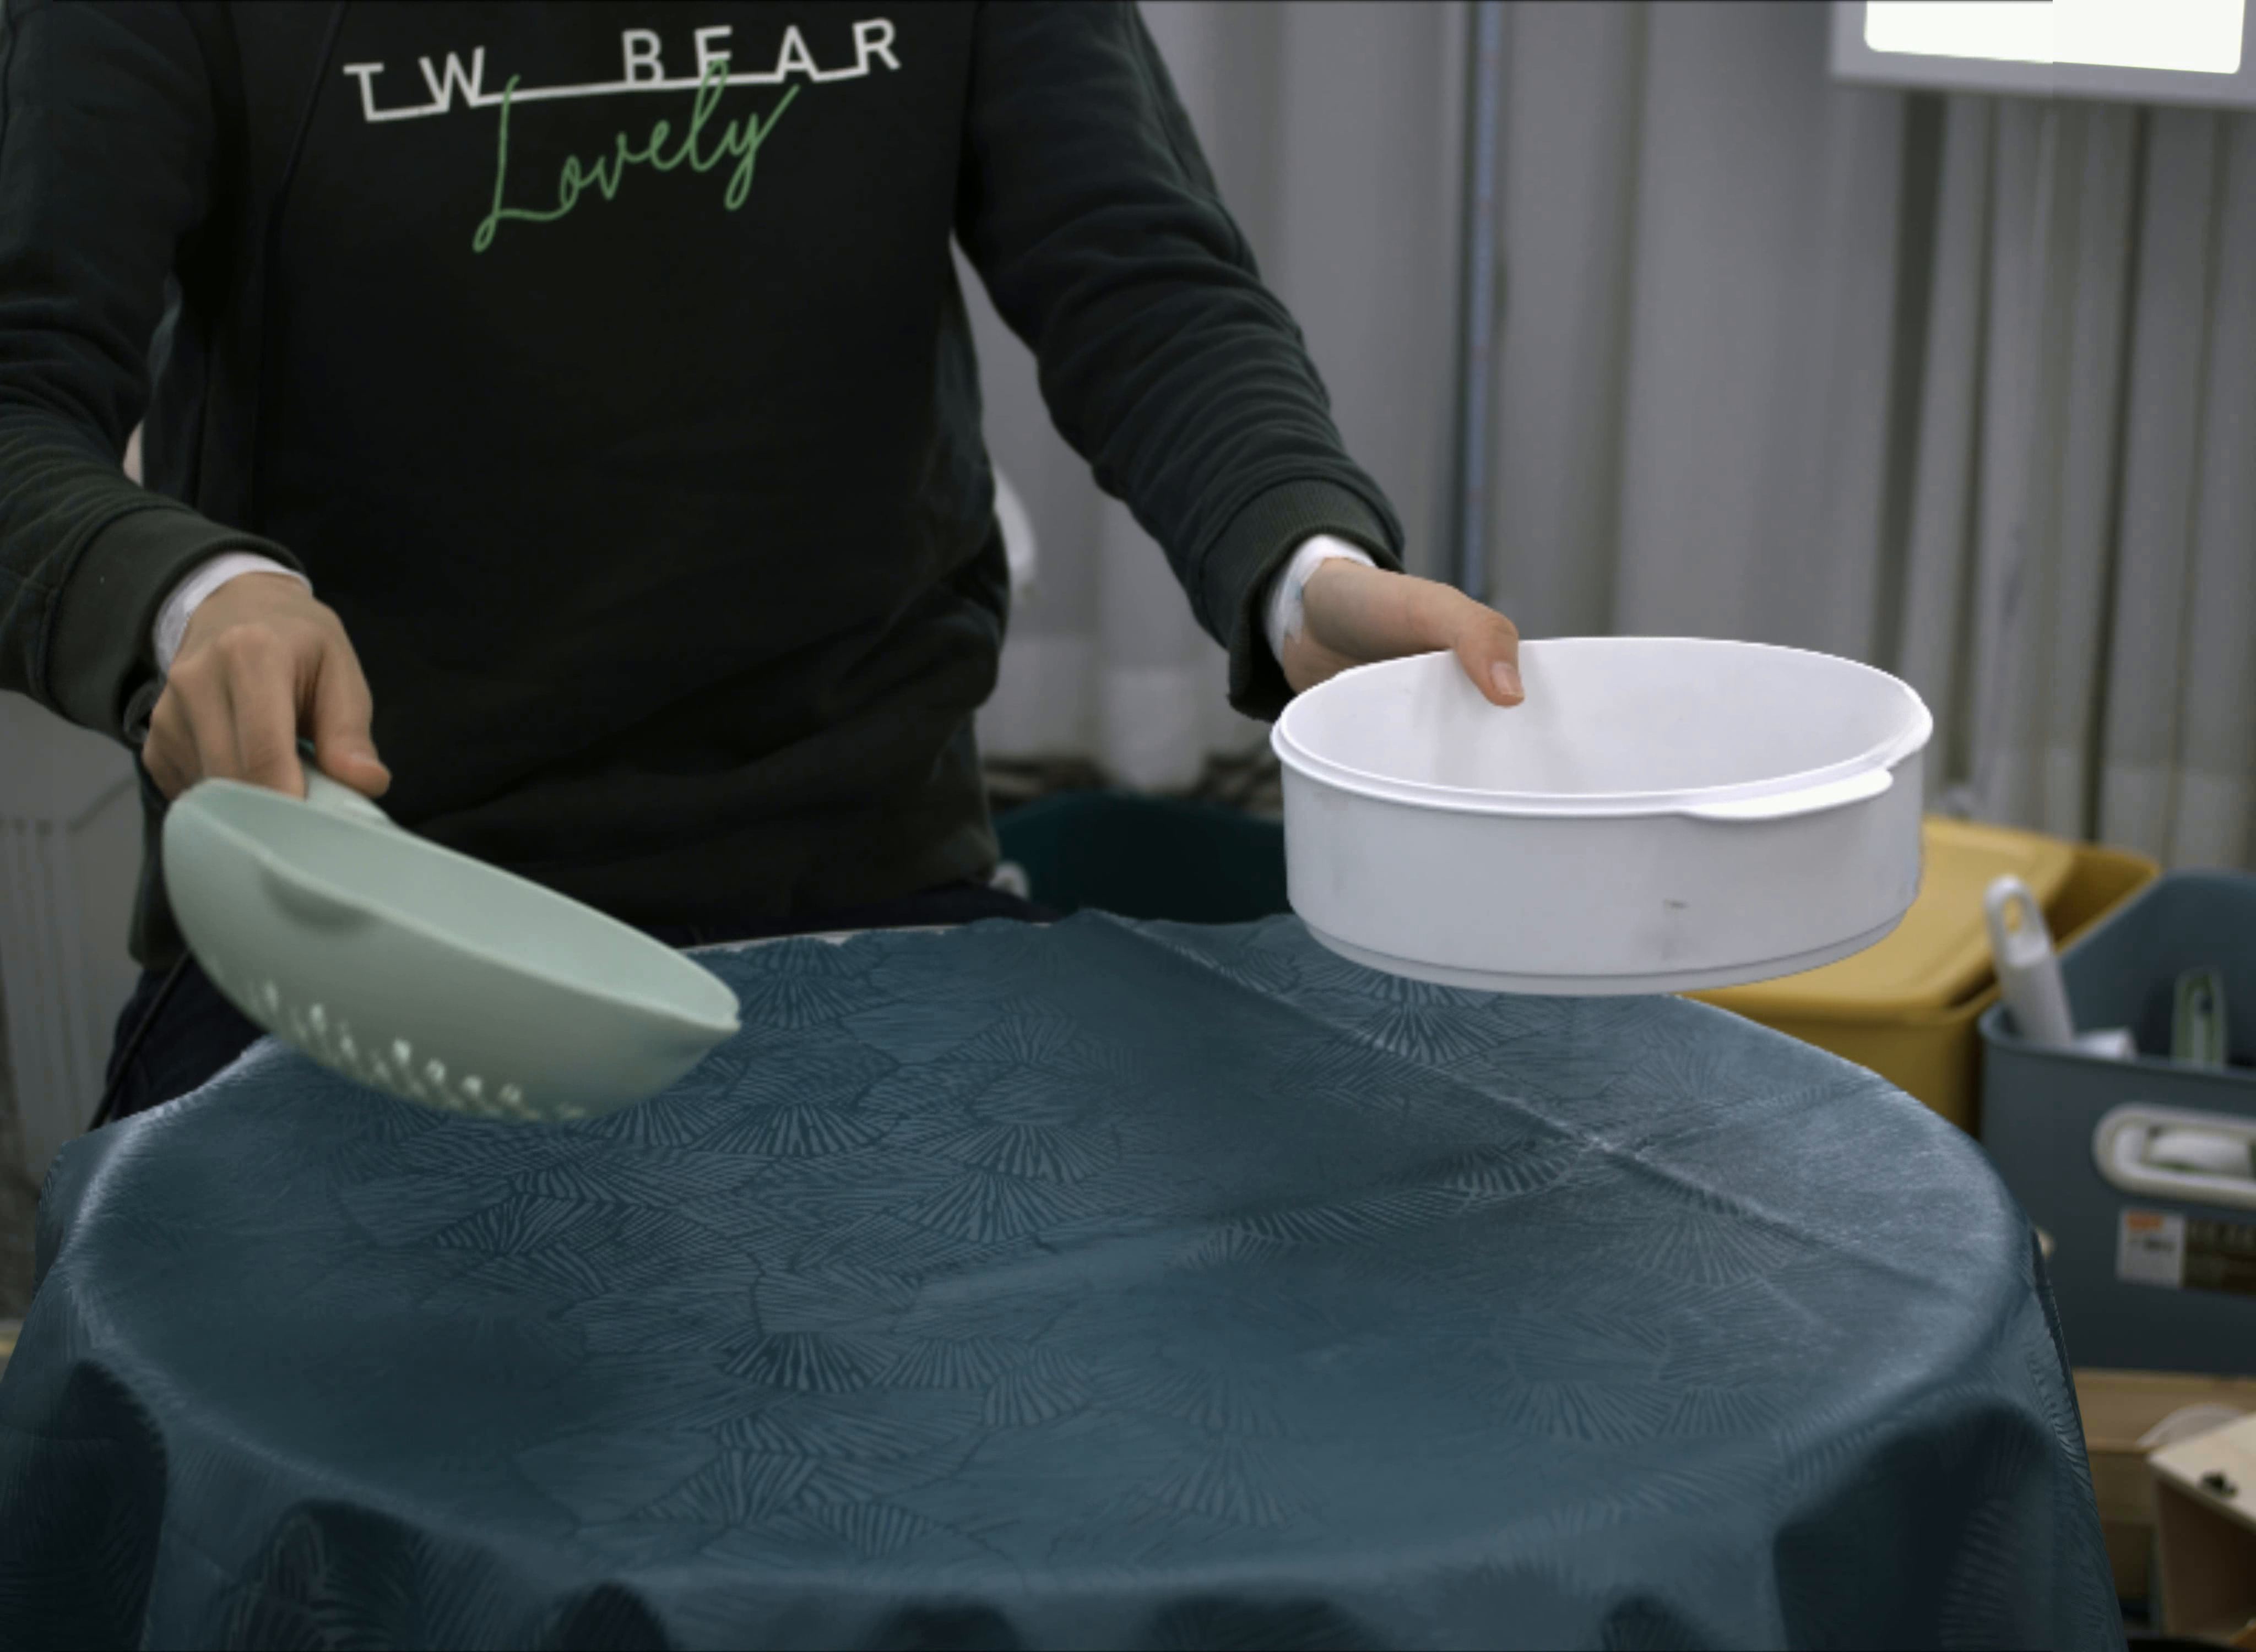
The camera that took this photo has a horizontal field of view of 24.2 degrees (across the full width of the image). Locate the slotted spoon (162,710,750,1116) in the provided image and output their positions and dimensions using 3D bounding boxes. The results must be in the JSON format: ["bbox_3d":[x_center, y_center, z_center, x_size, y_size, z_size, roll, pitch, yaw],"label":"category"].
[{"bbox_3d":[-0.224,0.007,1.538,0.171,0.075,0.354,22,11,-25],"label":"slotted spoon"}]

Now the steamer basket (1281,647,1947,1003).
[{"bbox_3d":[0.147,-0.001,1.602,0.203,0.070,0.227,-10,18,-30],"label":"steamer basket"}]
